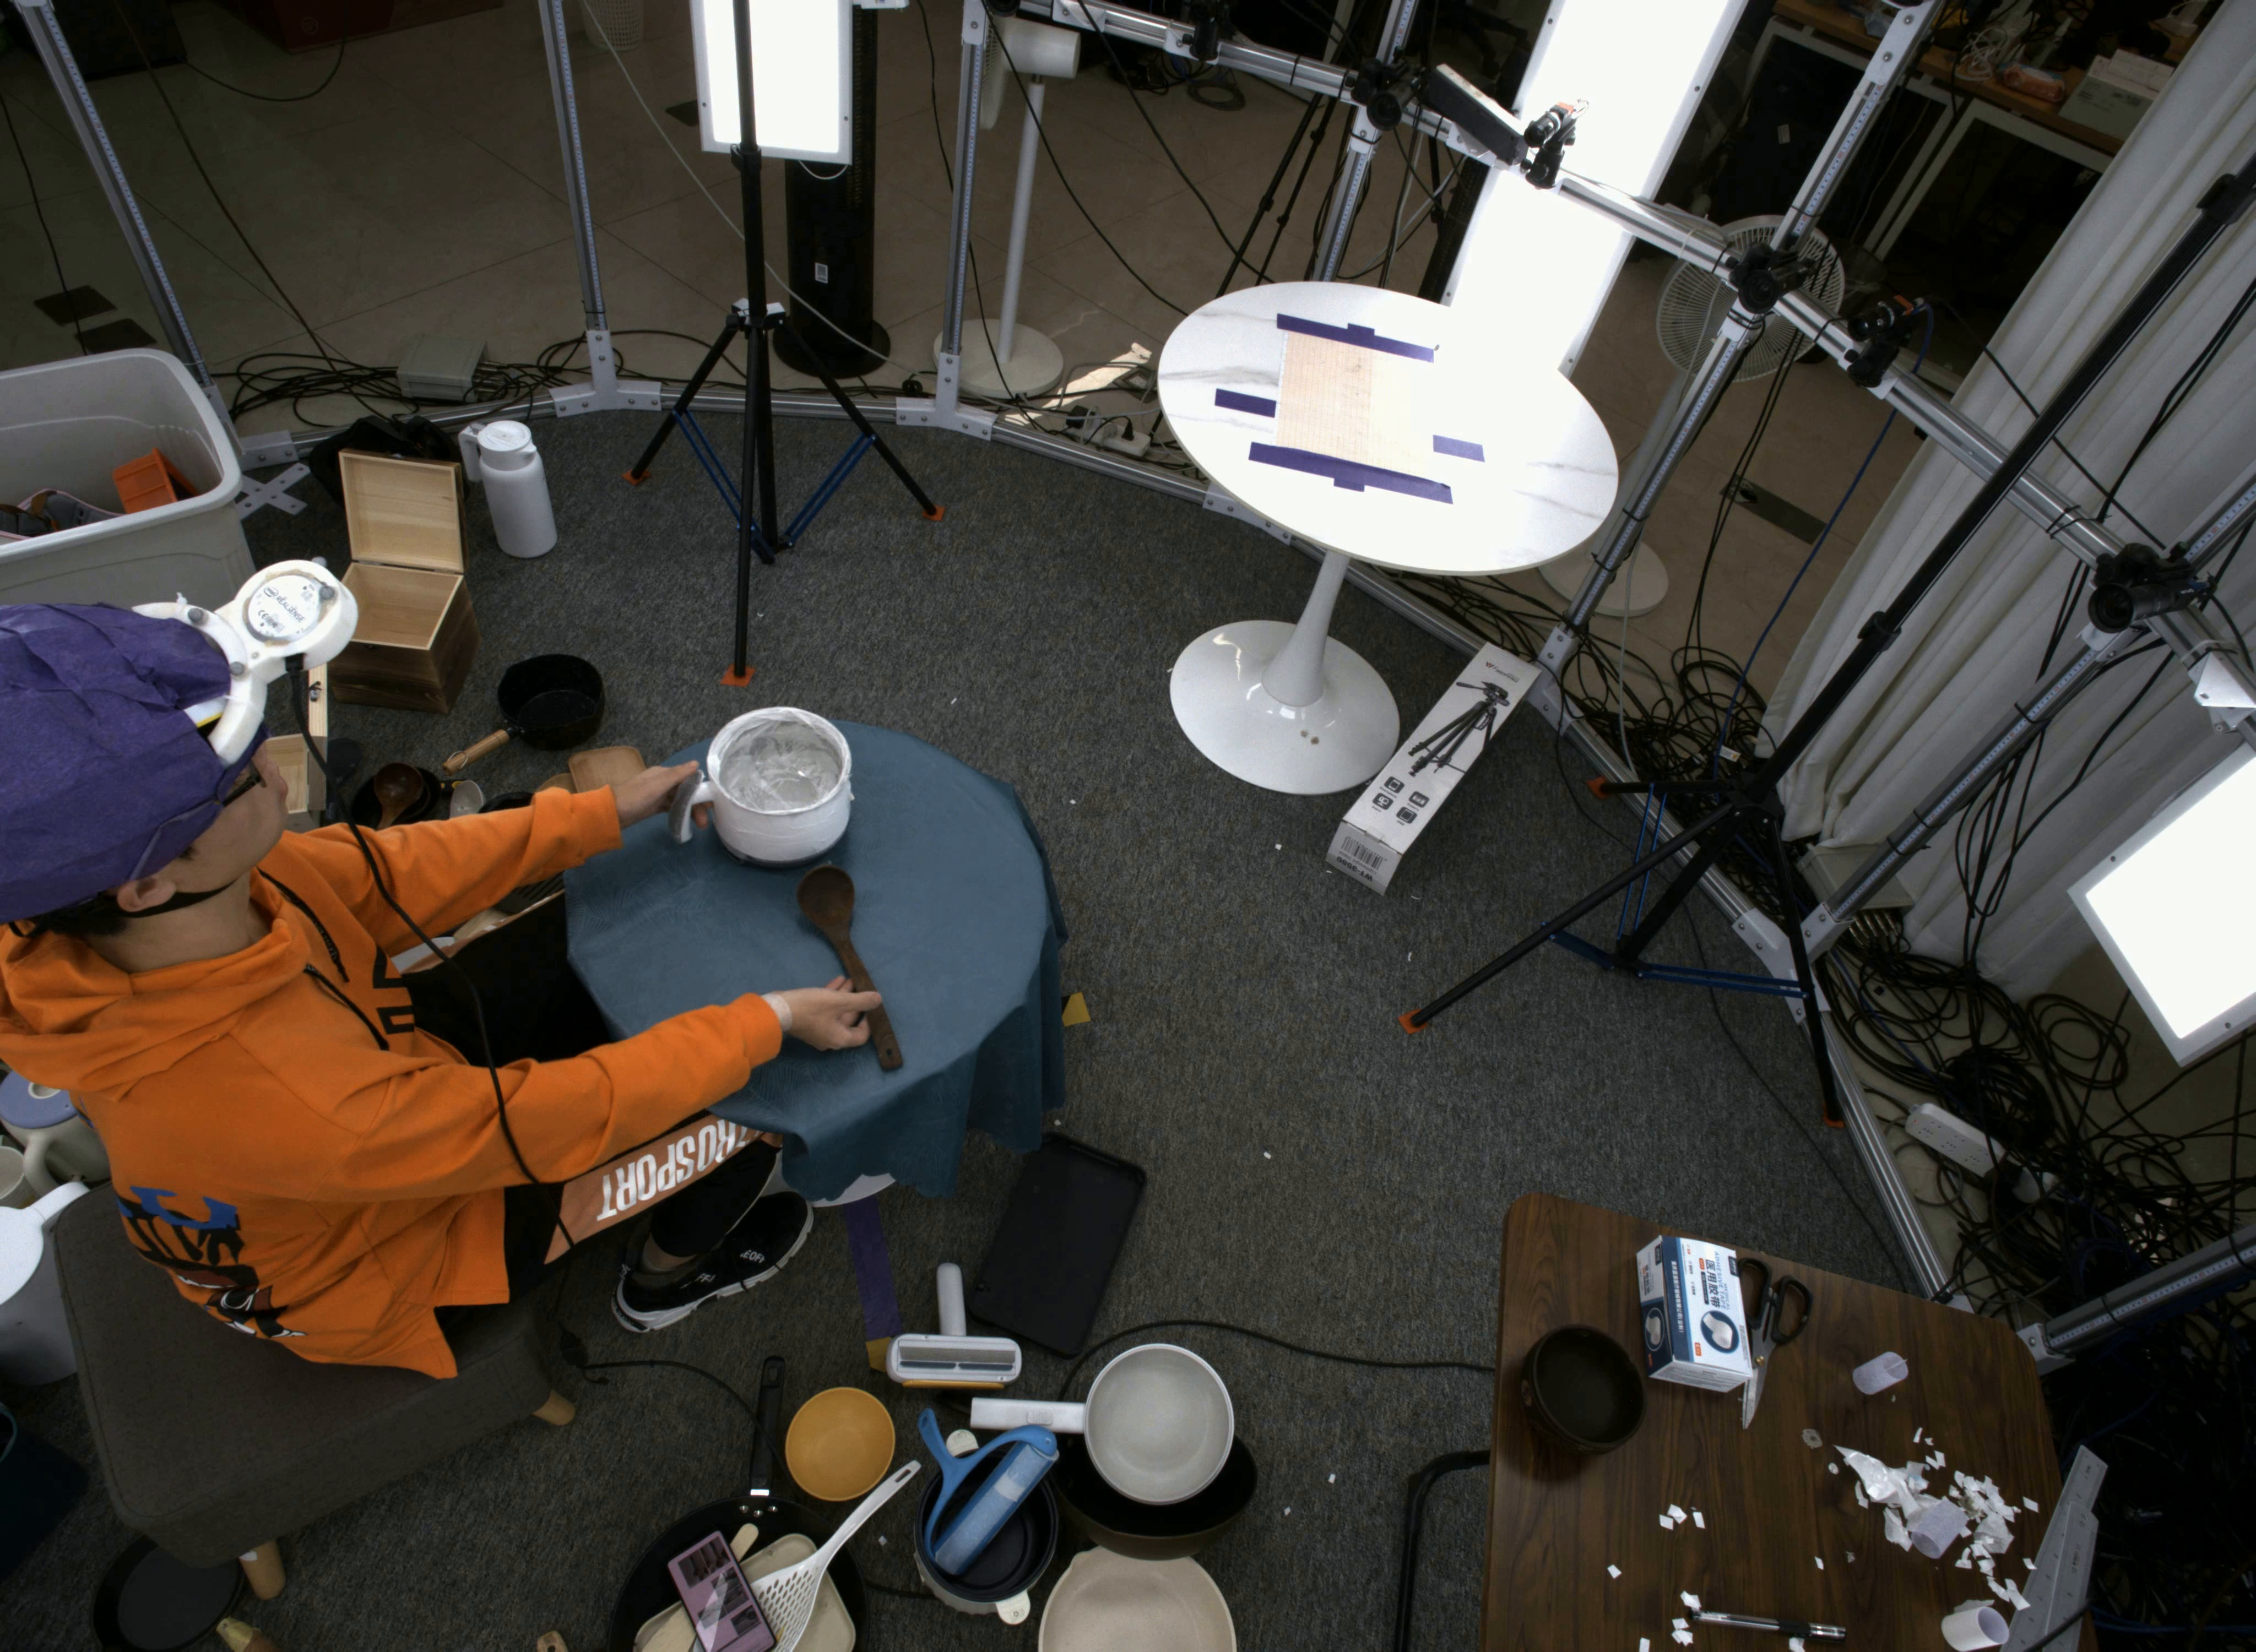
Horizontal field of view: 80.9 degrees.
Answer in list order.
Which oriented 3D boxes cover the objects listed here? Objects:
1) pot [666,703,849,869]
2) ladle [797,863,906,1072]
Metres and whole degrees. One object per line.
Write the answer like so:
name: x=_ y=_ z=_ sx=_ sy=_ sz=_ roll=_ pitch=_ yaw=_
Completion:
pot: x=-0.471 y=-0.041 z=1.643 sx=0.235 sy=0.139 sz=0.174 roll=-14 pitch=57 yaw=-24
ladle: x=-0.328 y=0.163 z=1.571 sx=0.076 sy=0.073 sz=0.267 roll=-17 pitch=59 yaw=-25
